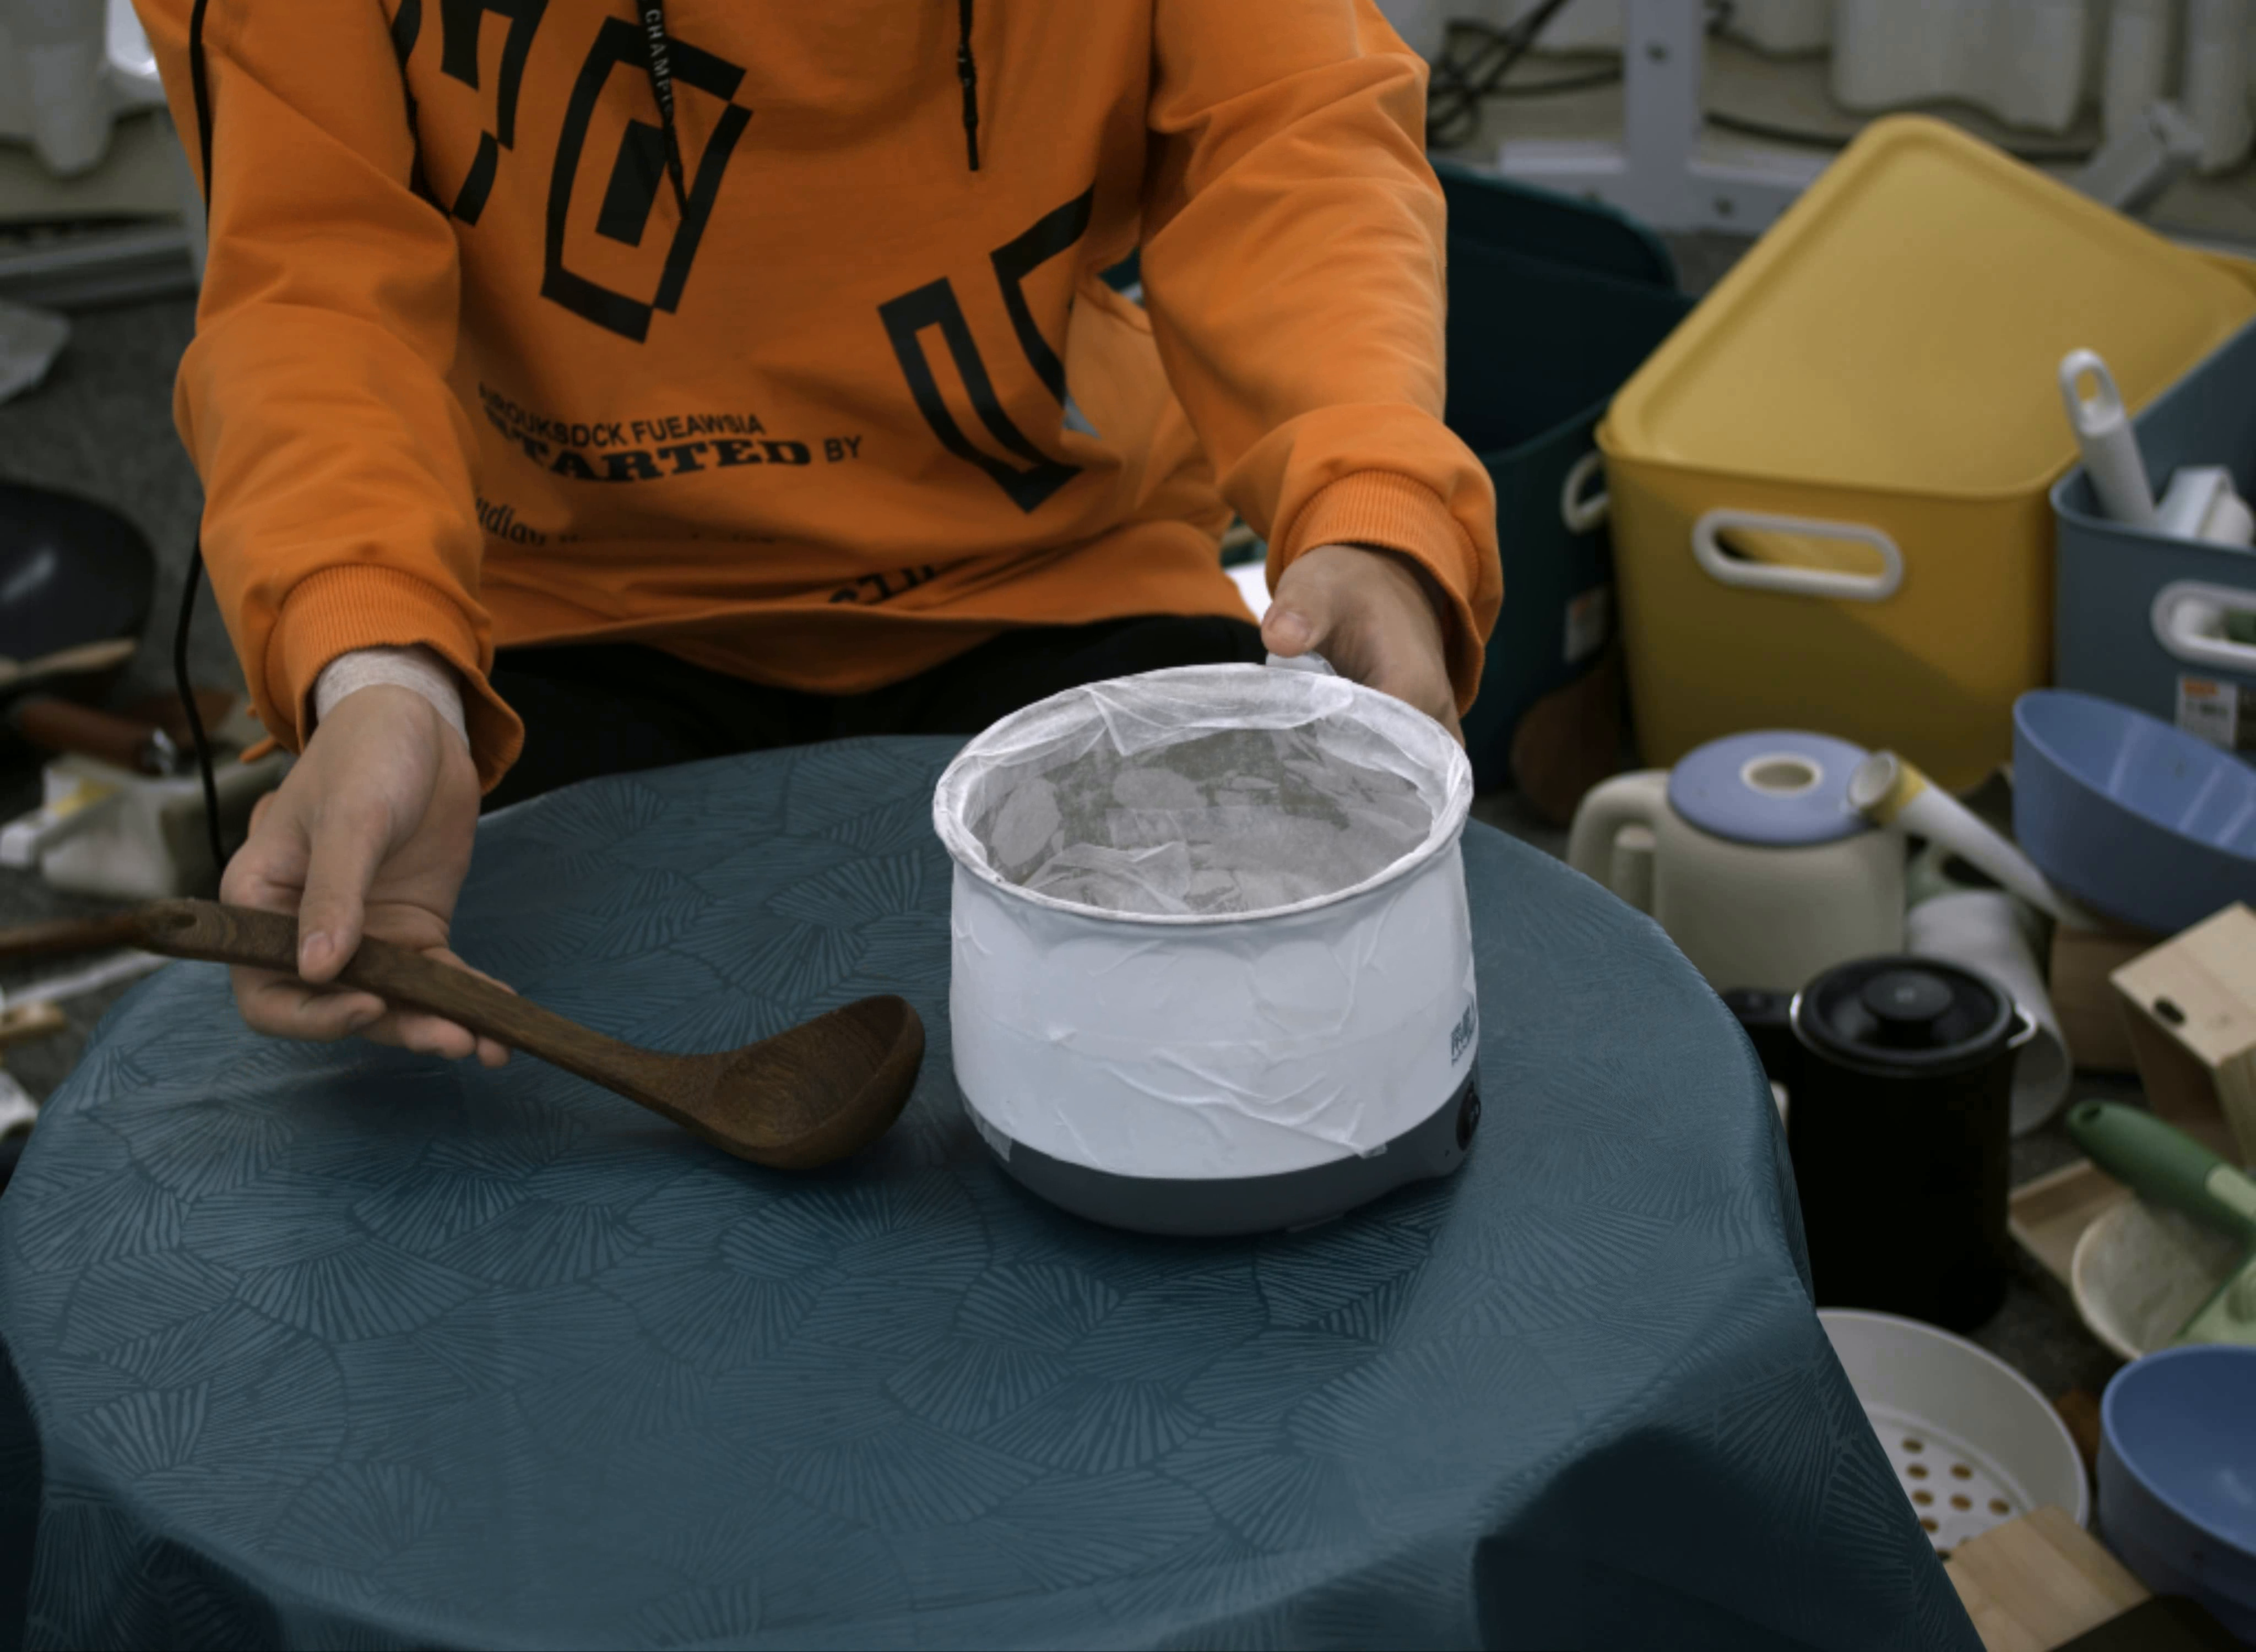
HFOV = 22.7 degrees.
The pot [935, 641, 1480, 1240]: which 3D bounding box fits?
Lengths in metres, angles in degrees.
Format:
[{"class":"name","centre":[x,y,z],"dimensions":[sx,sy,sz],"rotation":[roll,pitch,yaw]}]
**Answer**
[{"class":"pot","centre":[0.036,0.031,1.886],"dimensions":[0.177,0.135,0.238],"rotation":[6,29,16]}]

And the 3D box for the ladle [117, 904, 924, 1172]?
[{"class":"ladle","centre":[-0.203,0.053,1.886],"dimensions":[0.273,0.070,0.077],"rotation":[18,34,1]}]
